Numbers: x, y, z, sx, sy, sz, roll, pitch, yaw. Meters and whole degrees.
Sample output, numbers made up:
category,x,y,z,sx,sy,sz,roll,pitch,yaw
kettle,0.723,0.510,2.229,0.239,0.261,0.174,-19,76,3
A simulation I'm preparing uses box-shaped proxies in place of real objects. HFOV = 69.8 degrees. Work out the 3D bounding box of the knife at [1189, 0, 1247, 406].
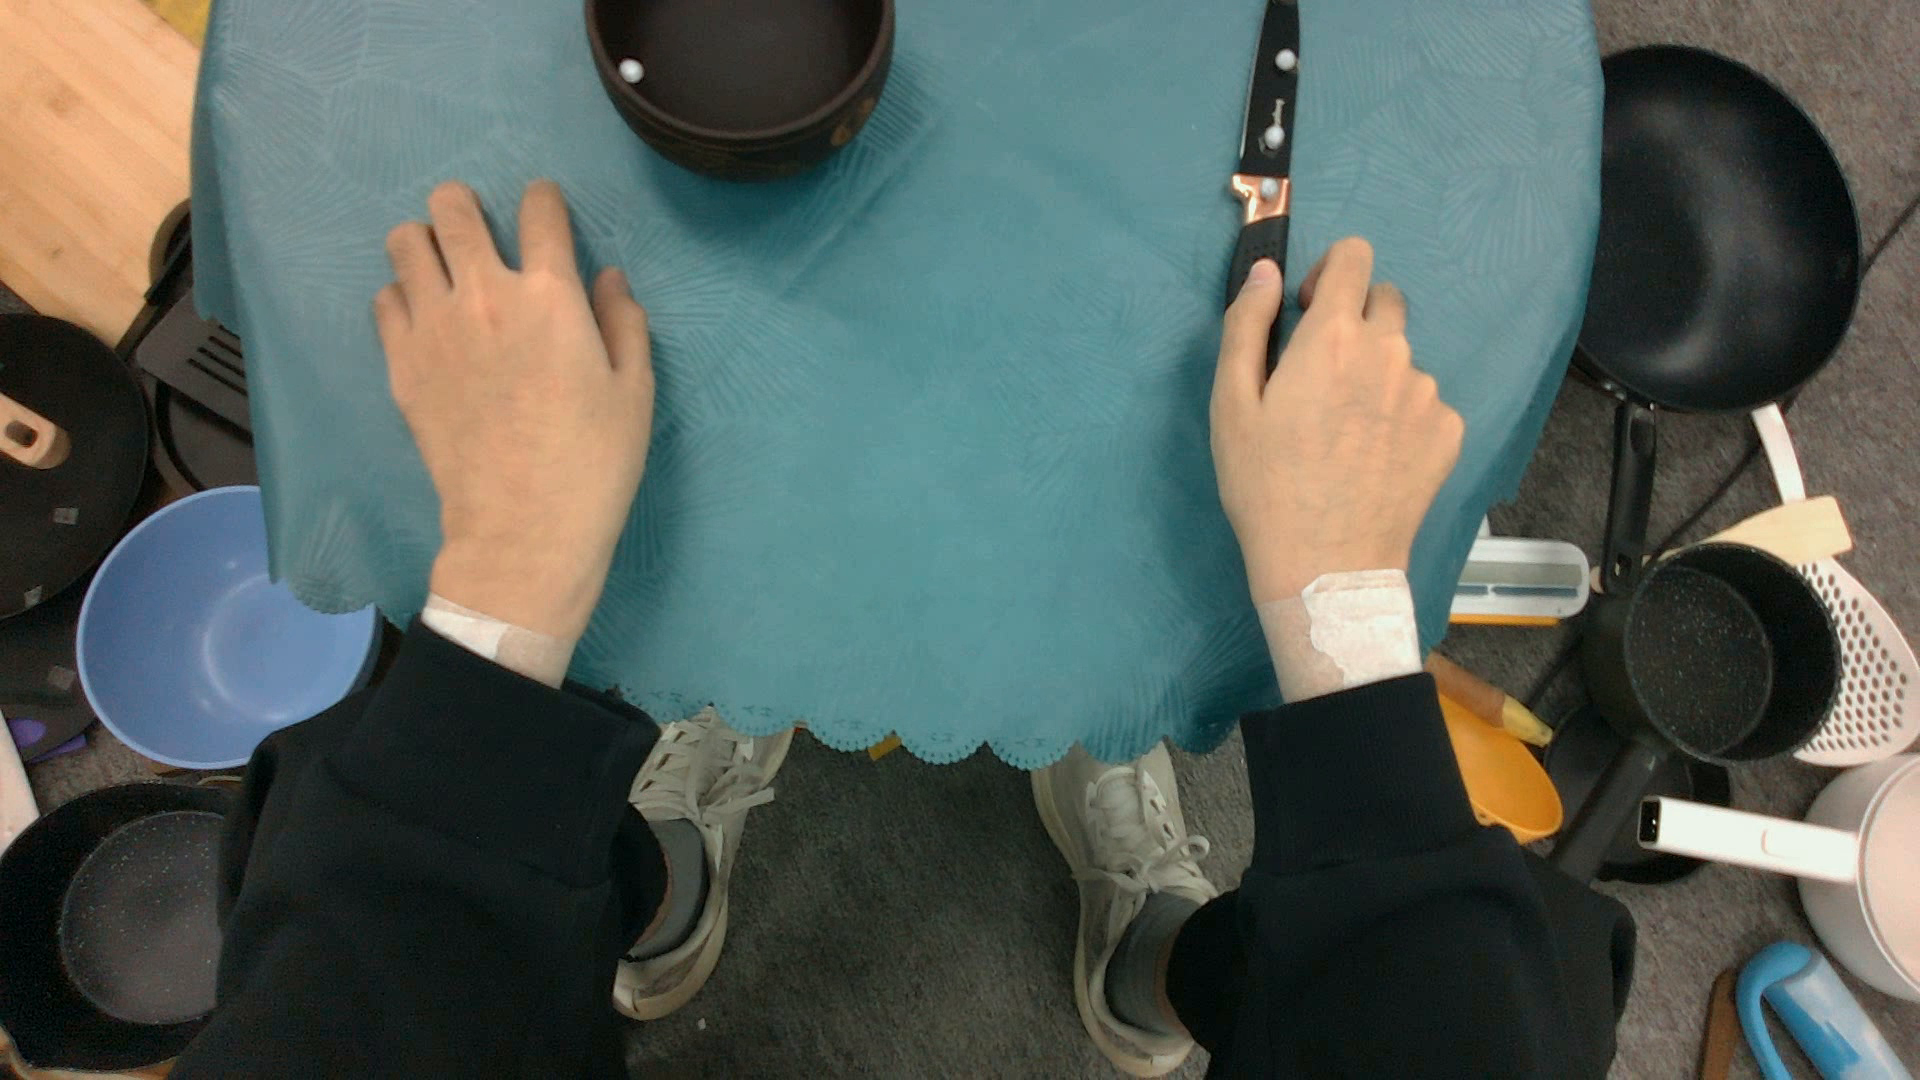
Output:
category,x,y,z,sx,sy,sz,roll,pitch,yaw
knife,0.114,-0.166,0.582,0.017,0.026,0.226,3,76,18

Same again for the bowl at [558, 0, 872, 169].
category,x,y,z,sx,sy,sz,roll,pitch,yaw
bowl,-0.094,-0.202,0.545,0.118,0.070,0.118,1,81,-5
